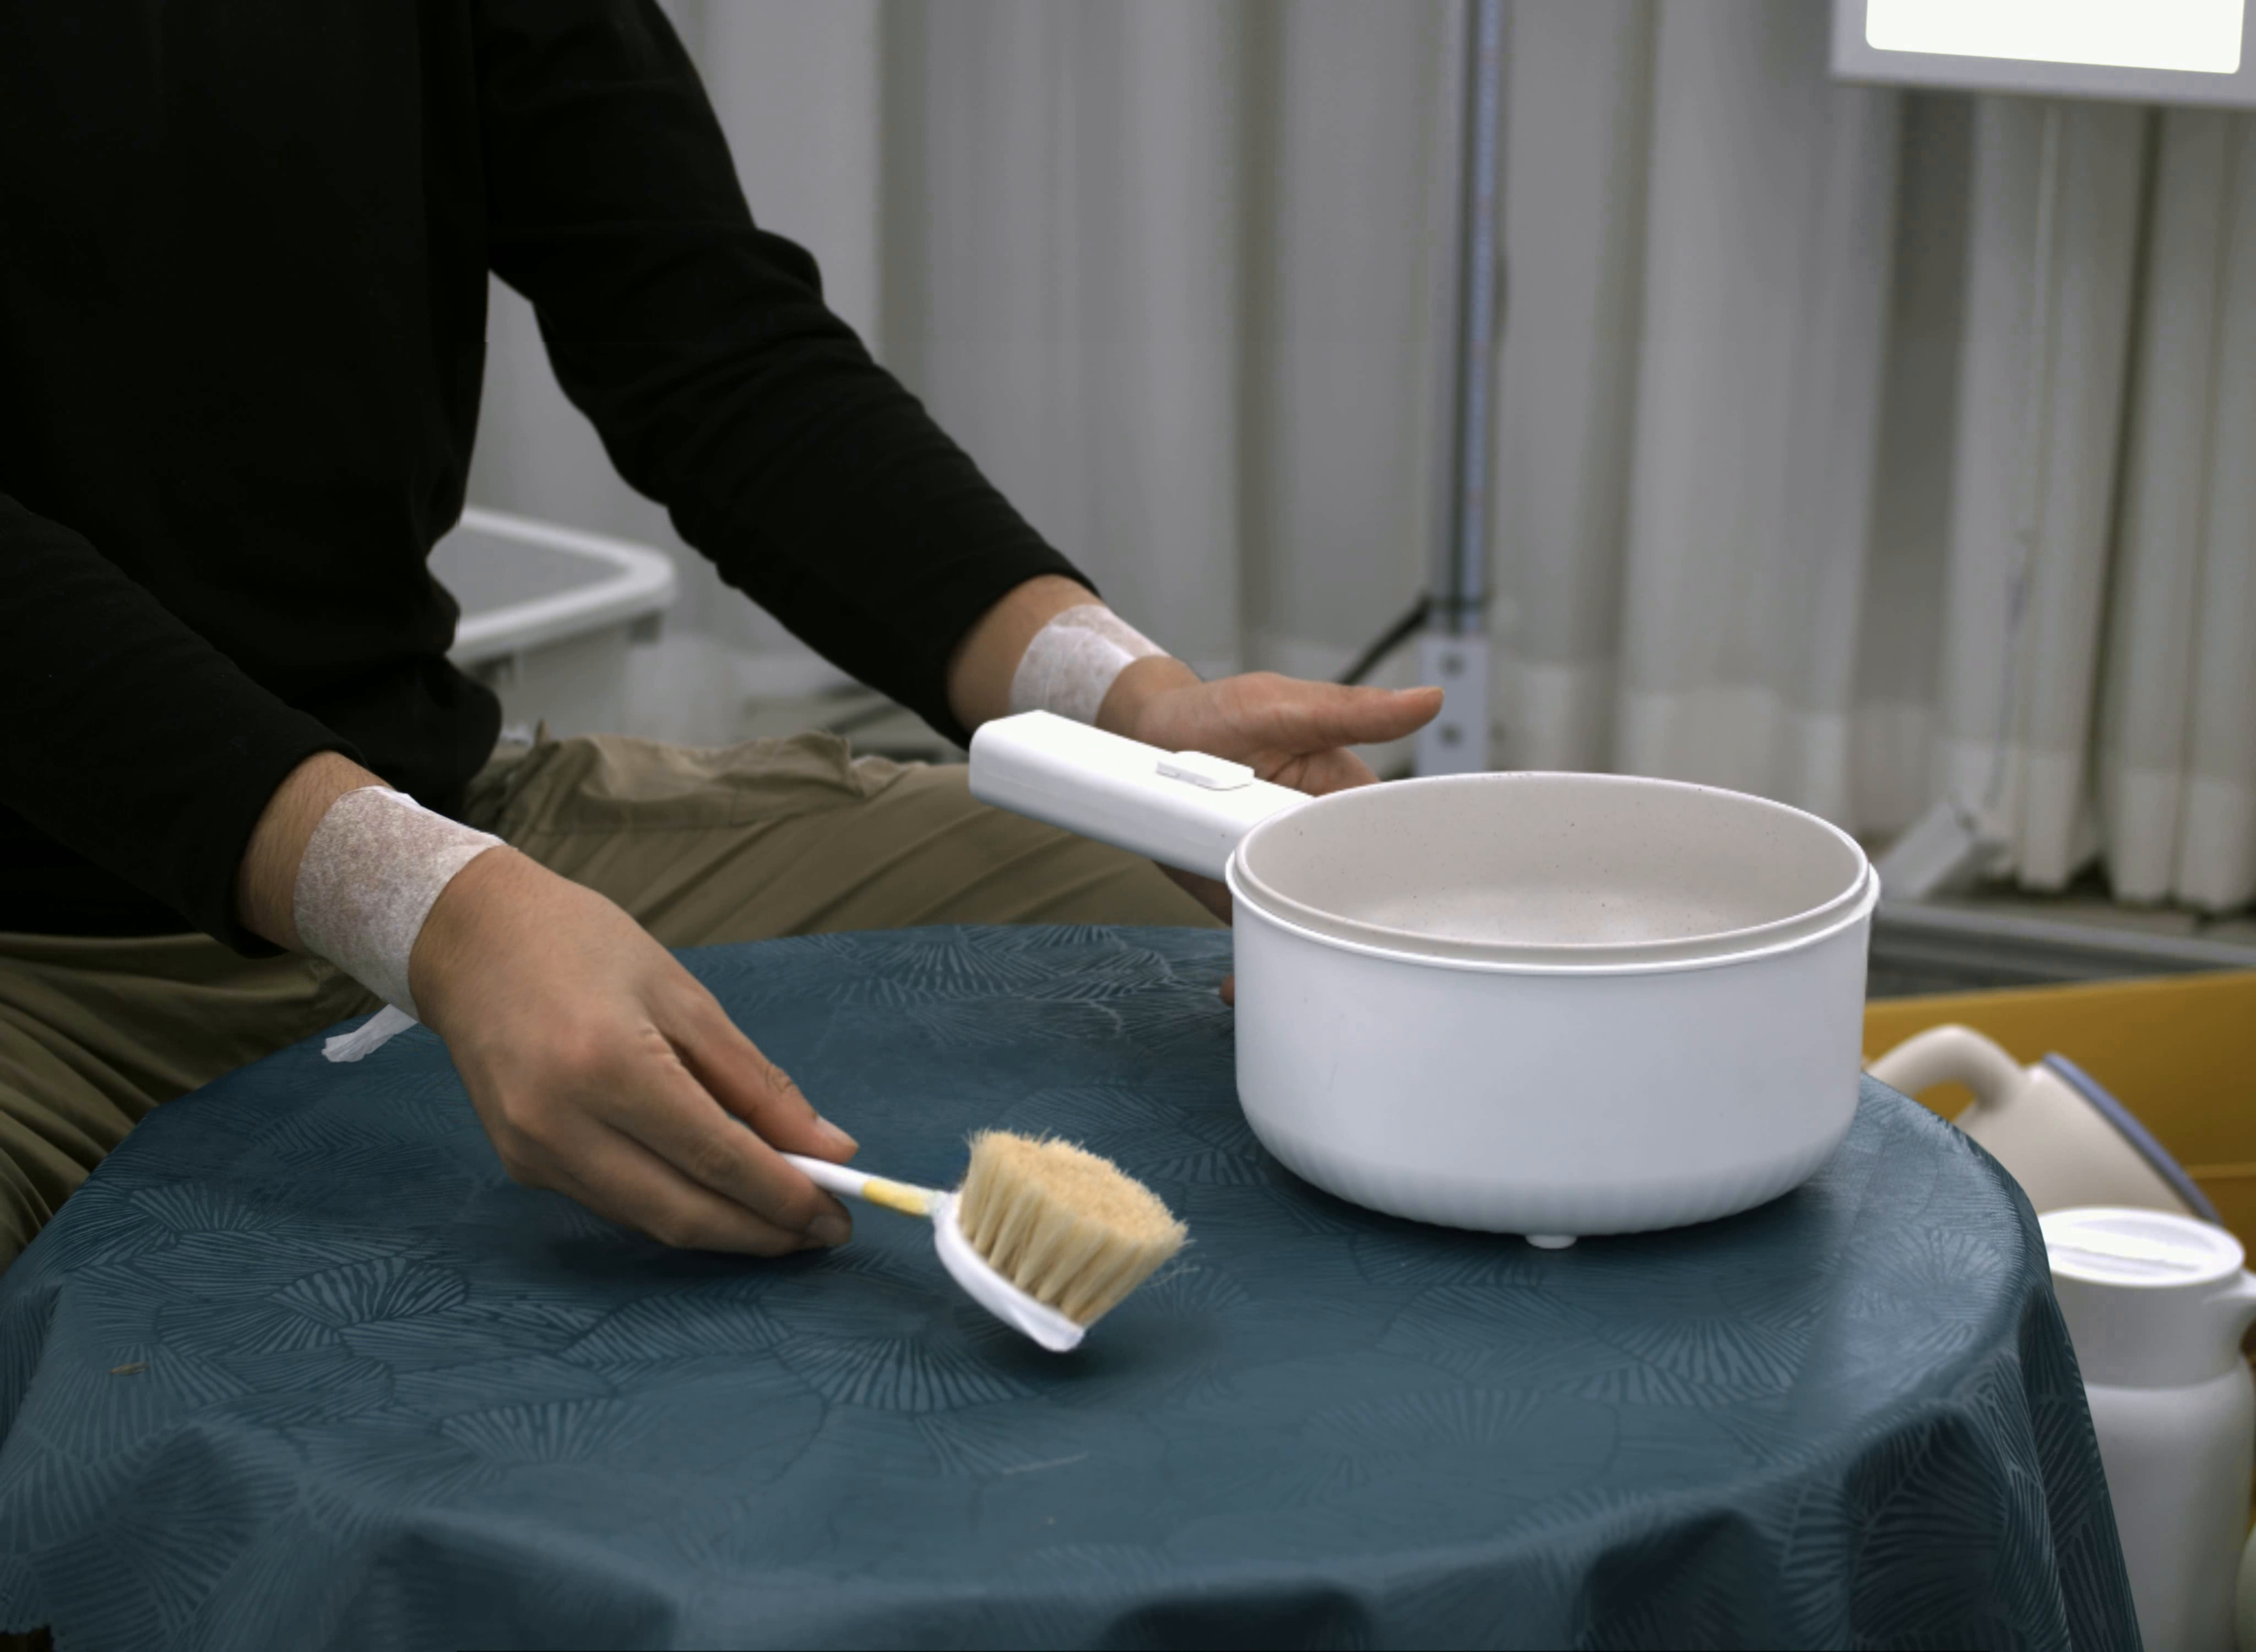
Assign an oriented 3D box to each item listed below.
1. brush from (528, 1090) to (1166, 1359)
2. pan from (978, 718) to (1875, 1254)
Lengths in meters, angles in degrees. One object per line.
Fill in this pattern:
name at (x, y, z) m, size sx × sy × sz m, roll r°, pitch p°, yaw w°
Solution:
brush at (-0.089, 0.093, 1.553) m, size 0.069 × 0.056 × 0.263 m, roll 29°, pitch -7°, yaw -42°
pan at (0.079, 0.044, 1.689) m, size 0.202 × 0.103 × 0.350 m, roll -15°, pitch 21°, yaw -40°
